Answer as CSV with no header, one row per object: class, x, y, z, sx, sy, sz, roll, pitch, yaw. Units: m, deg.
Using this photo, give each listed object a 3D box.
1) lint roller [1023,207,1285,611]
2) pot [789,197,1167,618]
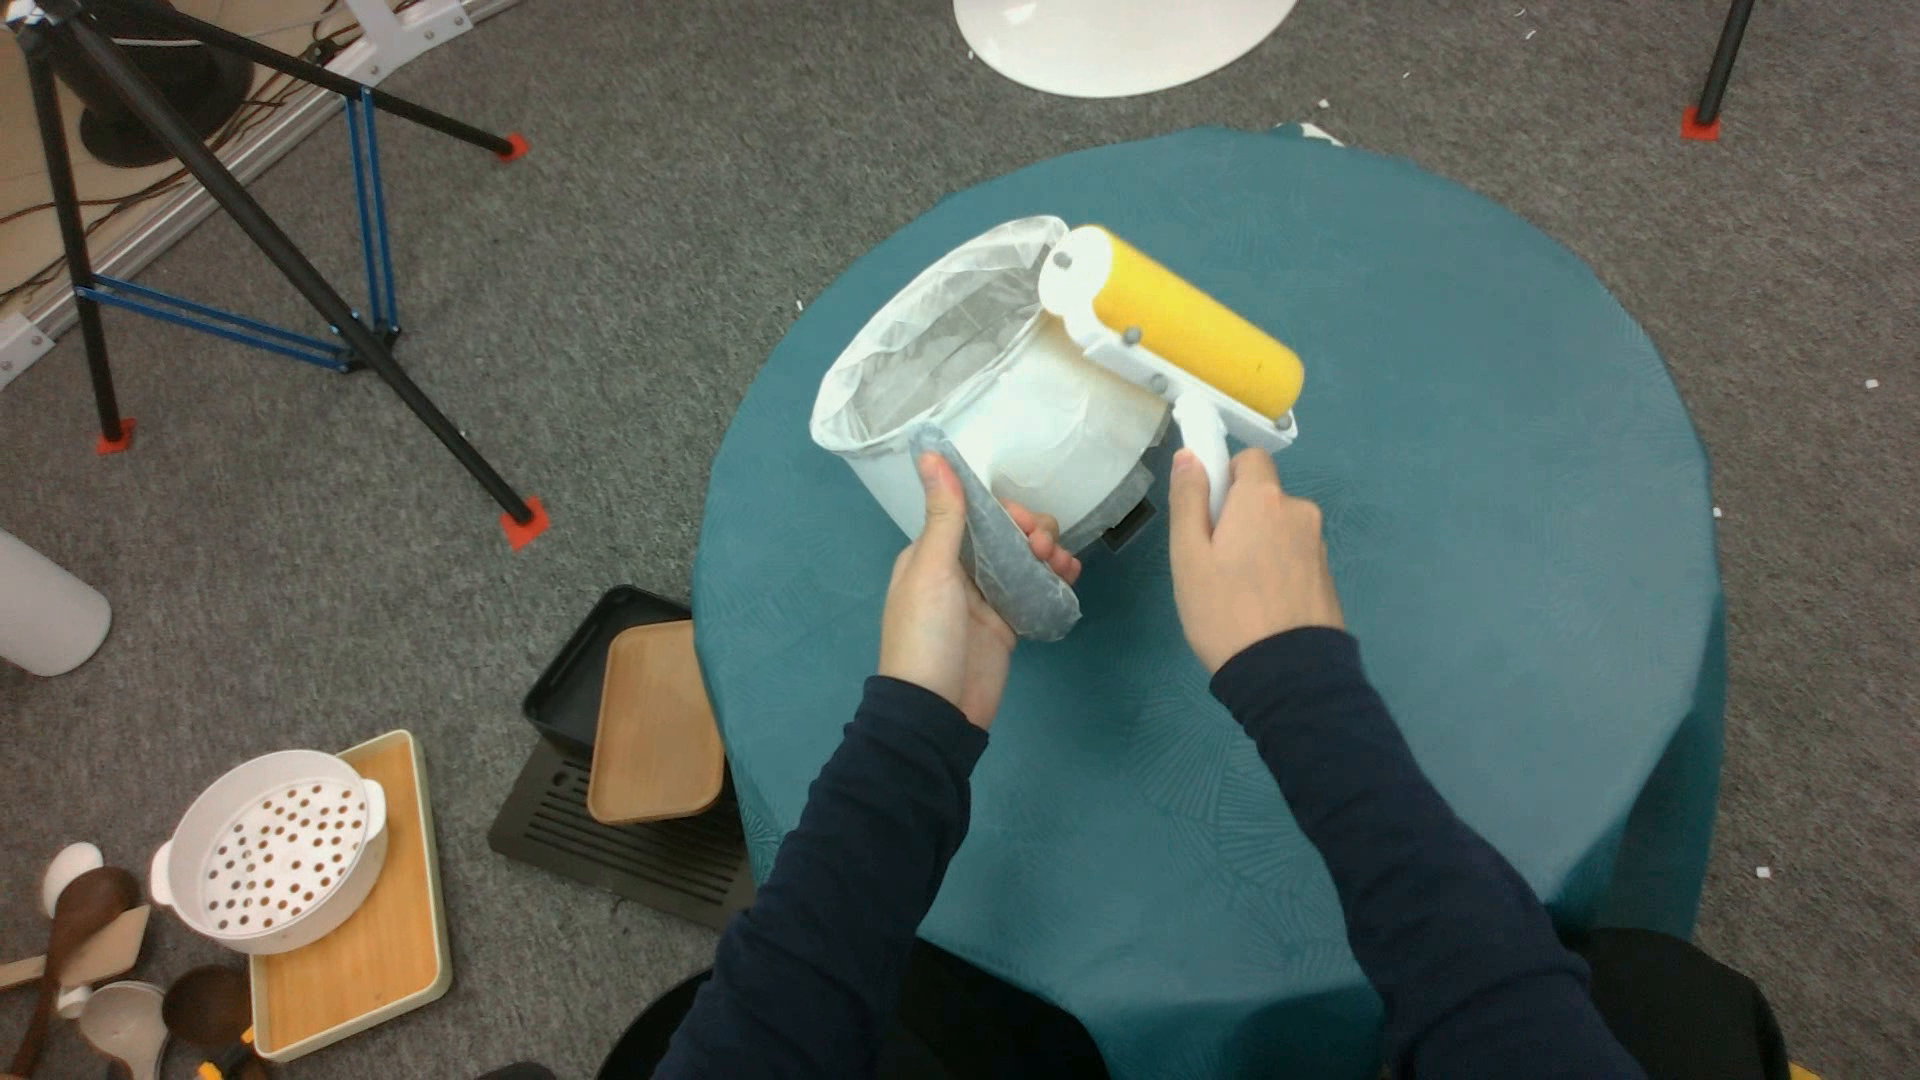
lint roller,0.120,-0.058,0.666,0.051,0.174,0.192,-40,51,30
pot,0.013,-0.065,0.741,0.178,0.136,0.235,-32,28,23
